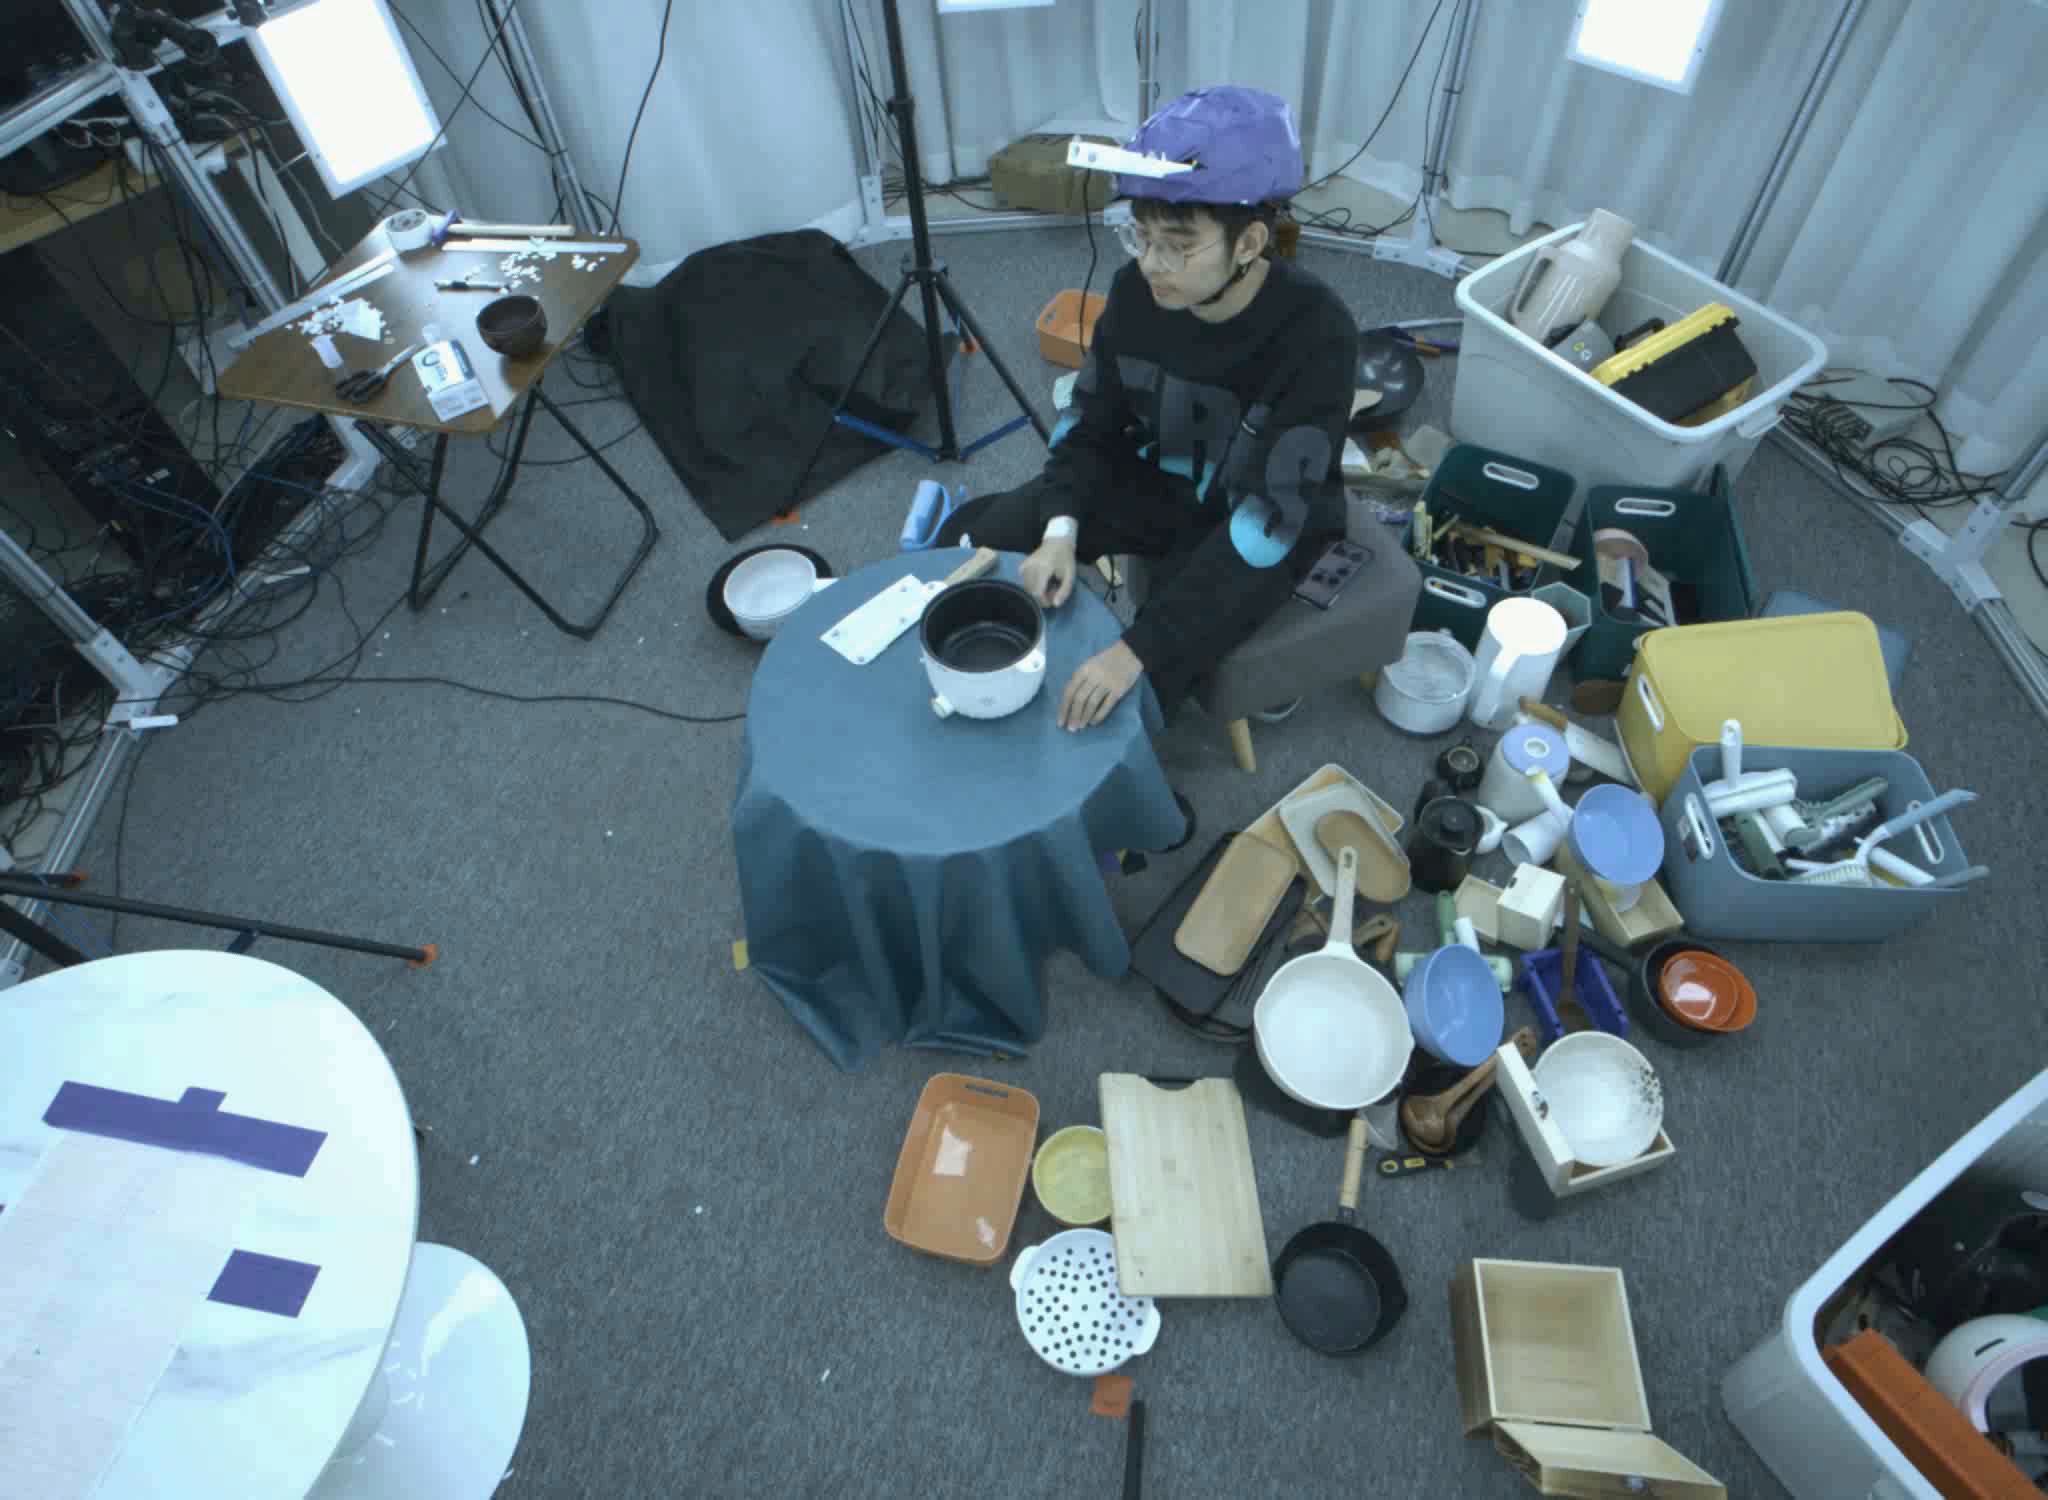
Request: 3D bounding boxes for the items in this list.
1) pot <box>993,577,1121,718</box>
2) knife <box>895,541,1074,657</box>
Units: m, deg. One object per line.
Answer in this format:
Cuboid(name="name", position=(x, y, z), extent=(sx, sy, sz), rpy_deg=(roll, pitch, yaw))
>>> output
Cuboid(name="pot", position=(0.046, -0.138, 1.797), extent=(0.192, 0.144, 0.236), rpy_deg=(-35, 59, -24))
Cuboid(name="knife", position=(-0.054, -0.246, 1.952), extent=(0.317, 0.022, 0.112), rpy_deg=(-32, 59, -16))
